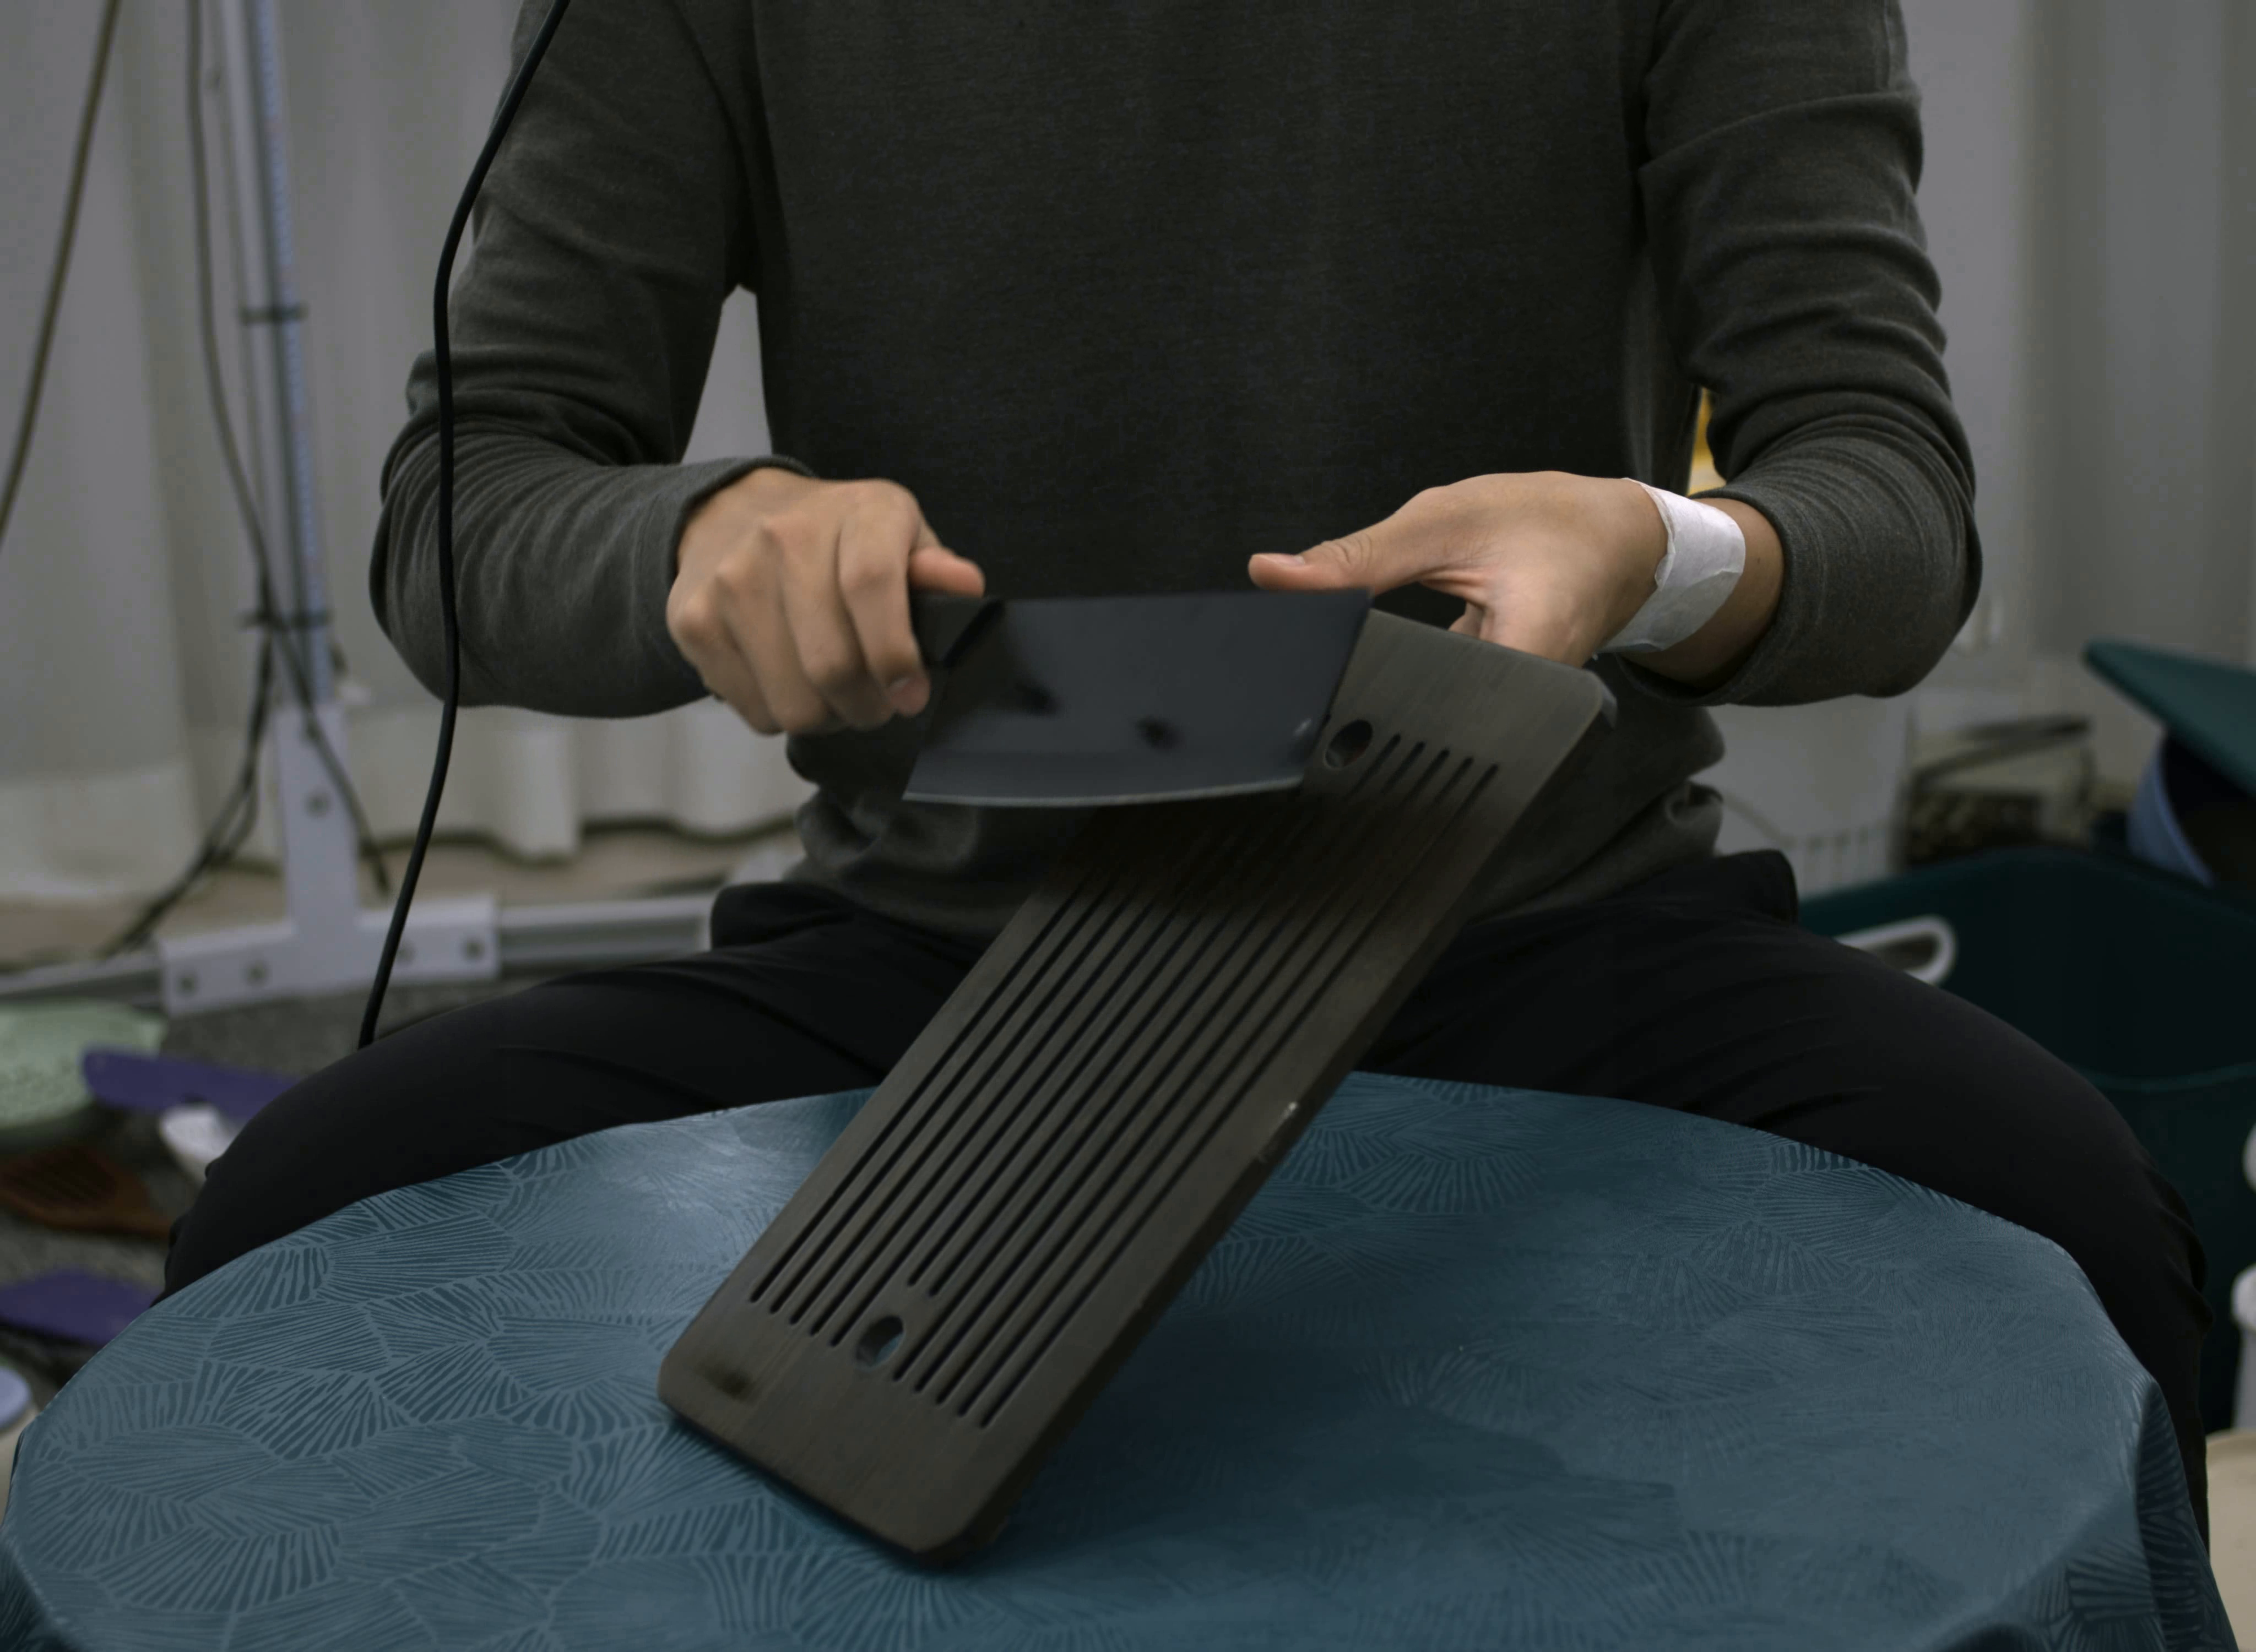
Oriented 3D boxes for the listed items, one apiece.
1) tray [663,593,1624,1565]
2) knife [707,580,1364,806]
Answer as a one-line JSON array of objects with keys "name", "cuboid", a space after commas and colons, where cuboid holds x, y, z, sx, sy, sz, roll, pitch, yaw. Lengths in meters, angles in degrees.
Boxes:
[{"name": "tray", "cuboid": [0.004, 0.064, 1.518, 0.307, 0.018, 0.171, -51, 31, -14]}, {"name": "knife", "cuboid": [-0.036, -0.041, 1.614, 0.020, 0.081, 0.303, 34, -16, -33]}]
